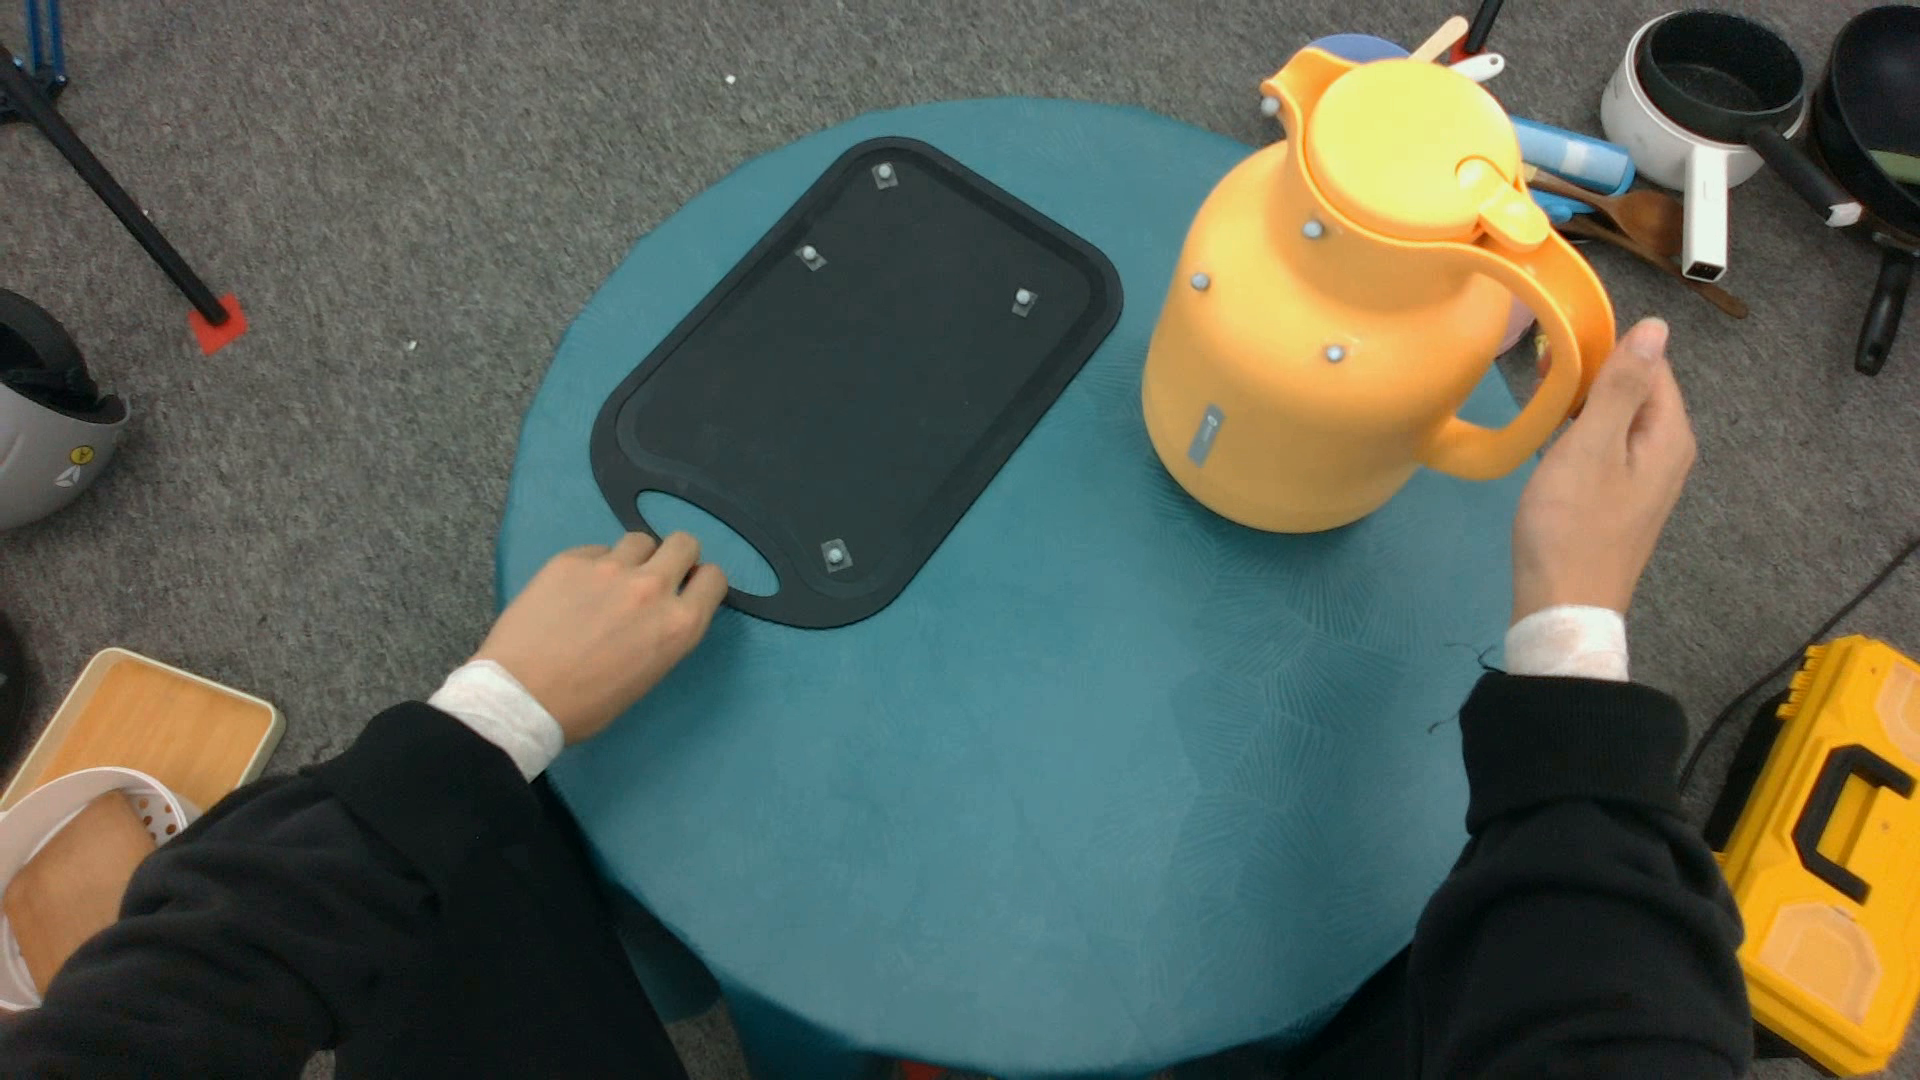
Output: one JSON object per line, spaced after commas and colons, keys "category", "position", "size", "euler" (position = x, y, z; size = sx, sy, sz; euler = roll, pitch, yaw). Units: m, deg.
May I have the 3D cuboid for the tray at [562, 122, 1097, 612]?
{"category": "tray", "position": [-0.075, -0.109, 0.811], "size": [0.211, 0.010, 0.326], "euler": [34, 69, 11]}

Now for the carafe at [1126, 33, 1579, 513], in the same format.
{"category": "carafe", "position": [0.189, -0.115, 0.691], "size": [0.164, 0.259, 0.202], "euler": [-40, 73, -15]}
